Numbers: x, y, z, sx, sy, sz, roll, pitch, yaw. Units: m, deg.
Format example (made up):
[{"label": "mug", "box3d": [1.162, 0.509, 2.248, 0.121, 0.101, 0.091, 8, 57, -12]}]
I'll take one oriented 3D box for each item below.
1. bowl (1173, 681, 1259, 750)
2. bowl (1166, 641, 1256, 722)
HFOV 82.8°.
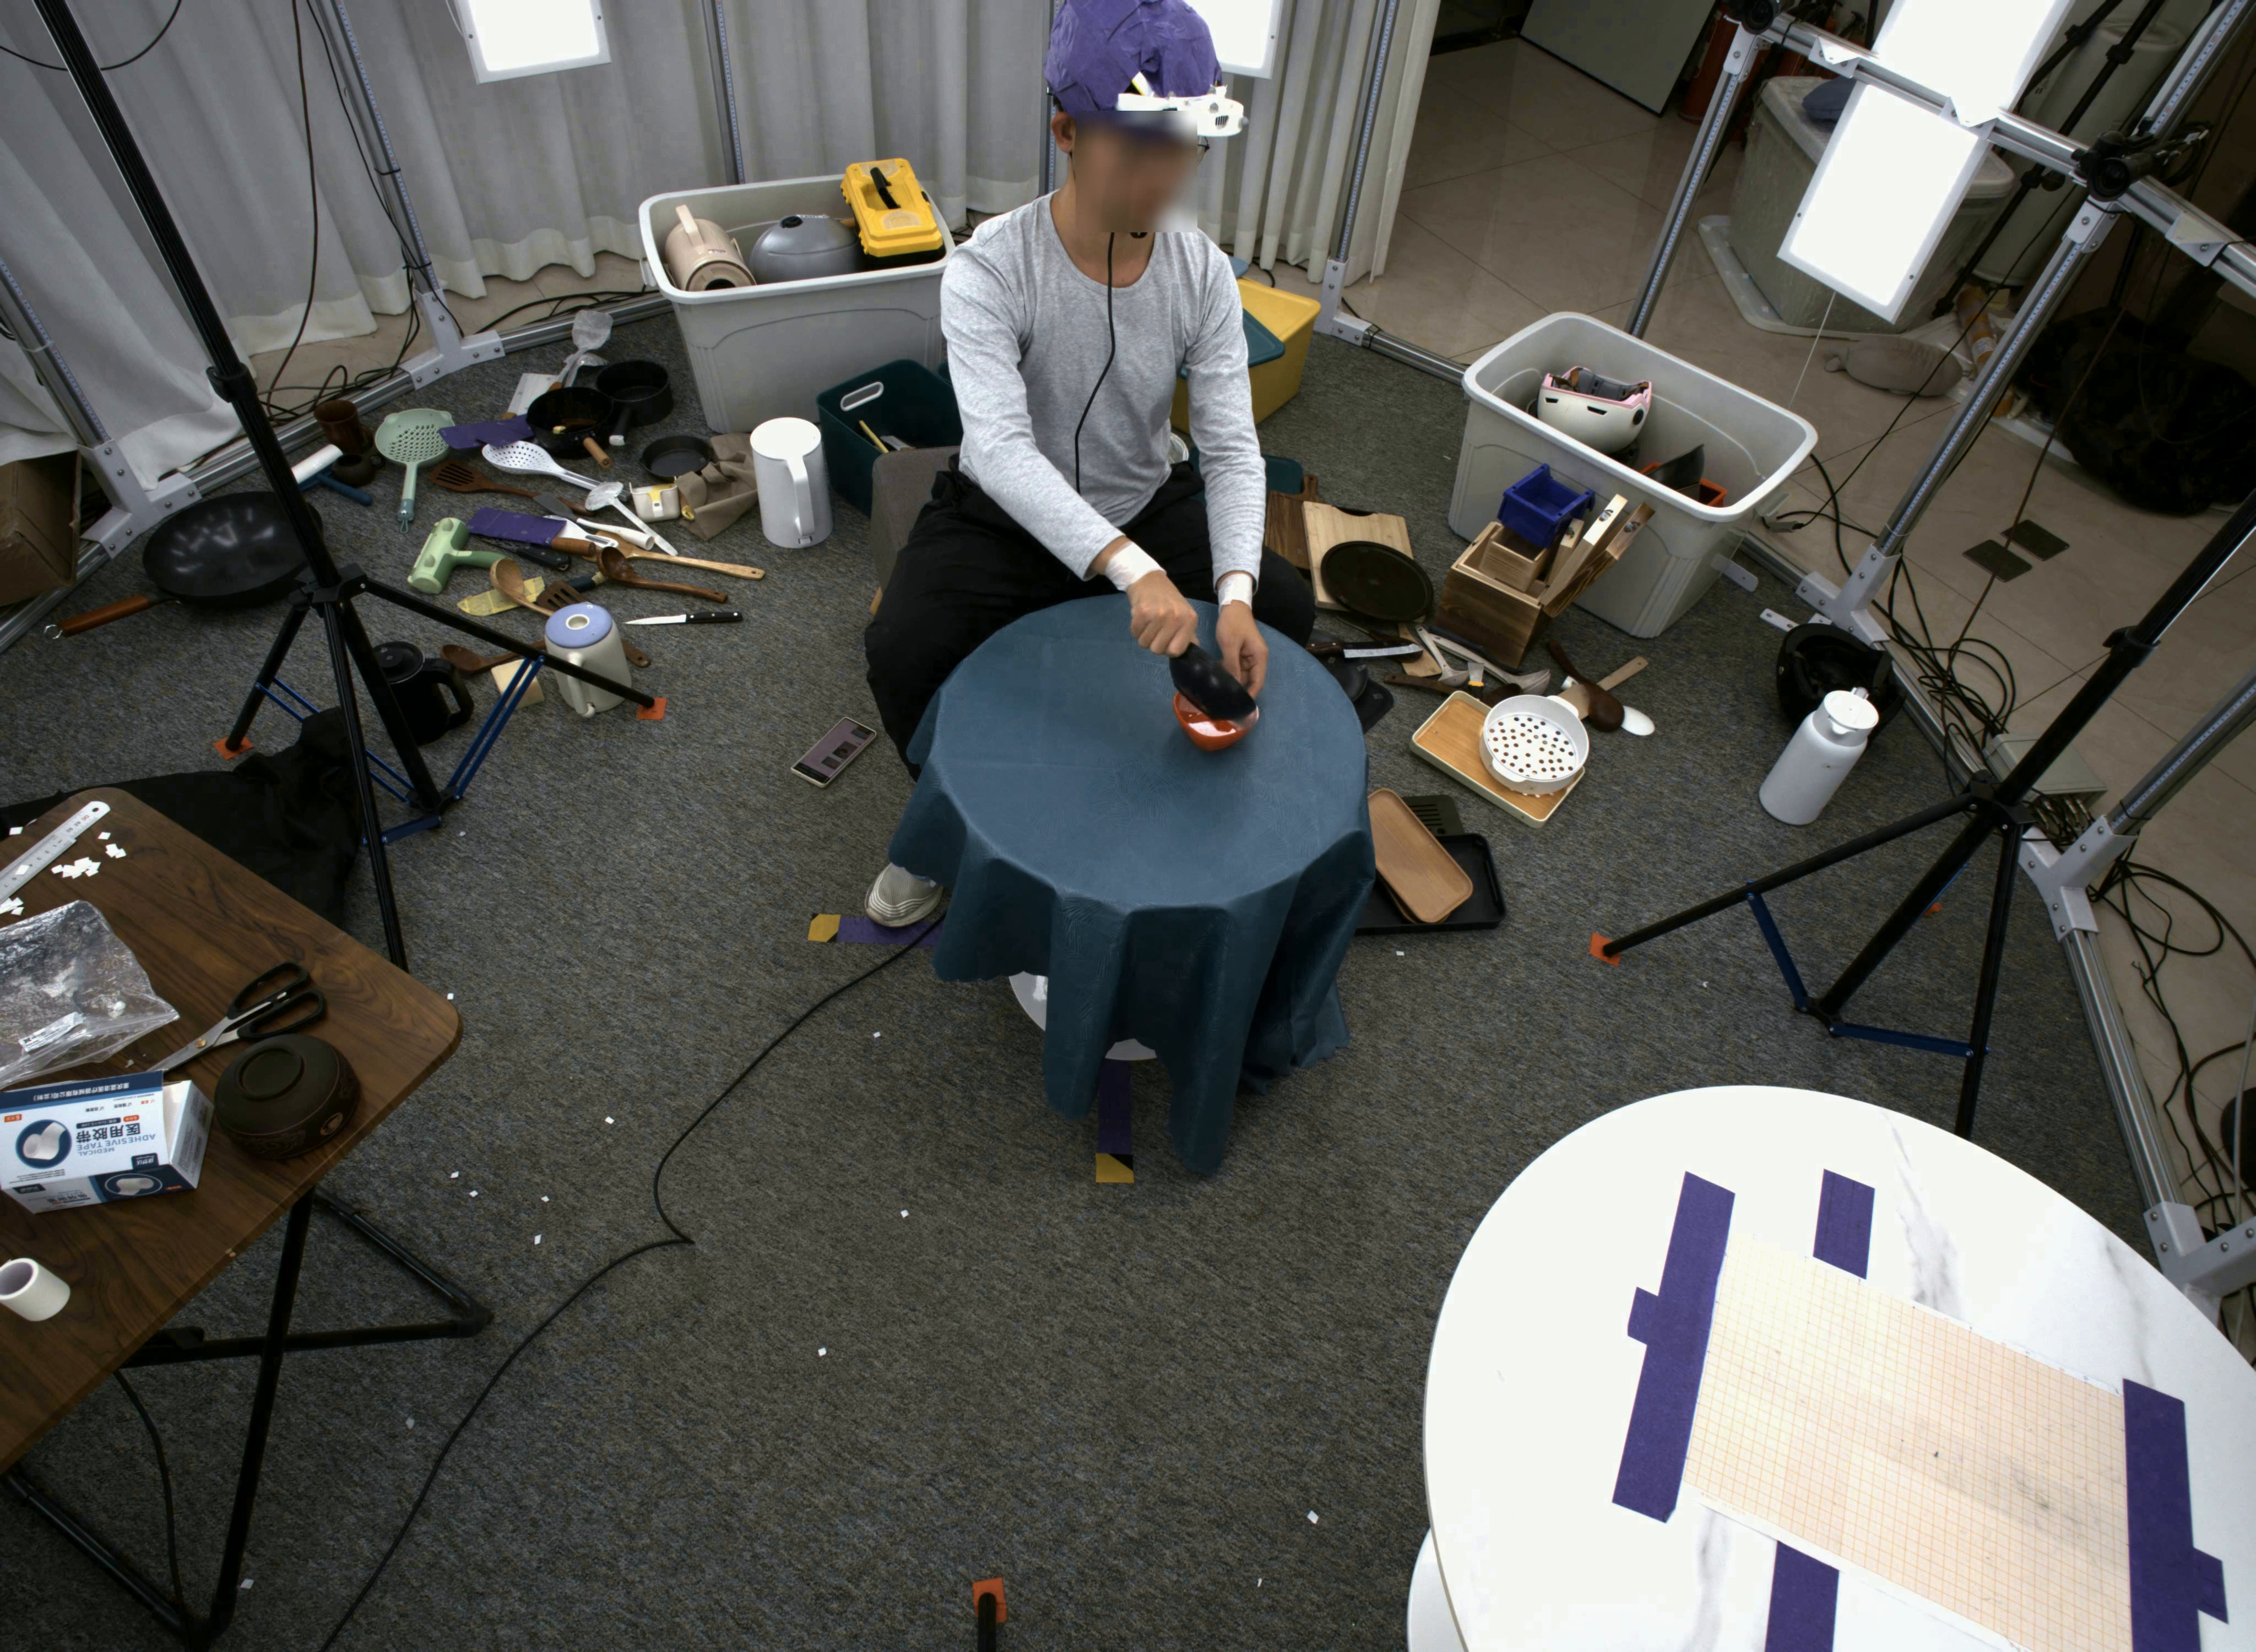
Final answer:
[{"label": "bowl", "box3d": [0.119, -0.150, 1.771, 0.119, 0.050, 0.122, 1, 51, -2]}, {"label": "bowl", "box3d": [0.099, -0.179, 1.687, 0.142, 0.137, 0.050, 36, 83, 23]}]
